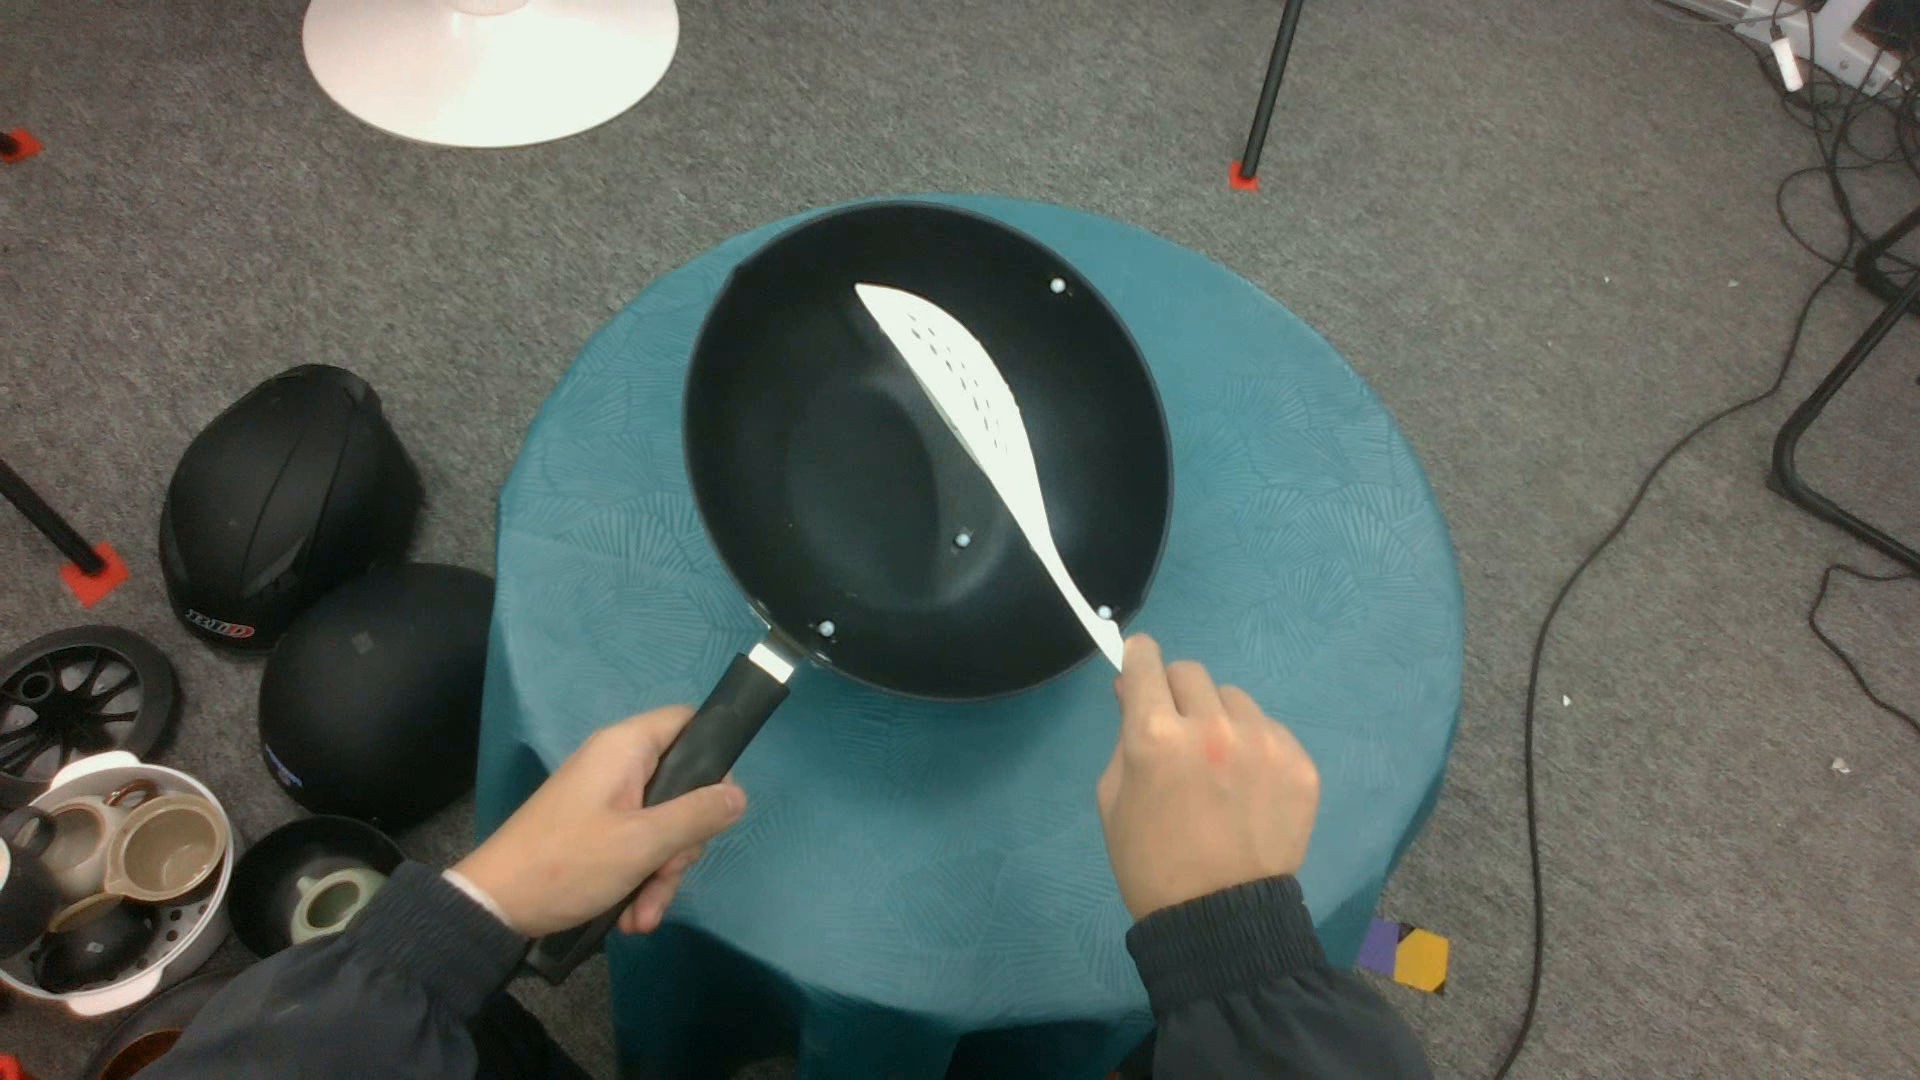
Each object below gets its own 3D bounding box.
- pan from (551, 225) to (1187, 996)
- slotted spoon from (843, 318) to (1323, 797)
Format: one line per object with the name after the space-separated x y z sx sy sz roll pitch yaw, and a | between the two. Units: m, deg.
-0.062 0.037 0.746 0.288 0.086 0.465 37 67 -7 | pan
0.054 0.003 0.699 0.050 0.136 0.348 -36 64 2 | slotted spoon
